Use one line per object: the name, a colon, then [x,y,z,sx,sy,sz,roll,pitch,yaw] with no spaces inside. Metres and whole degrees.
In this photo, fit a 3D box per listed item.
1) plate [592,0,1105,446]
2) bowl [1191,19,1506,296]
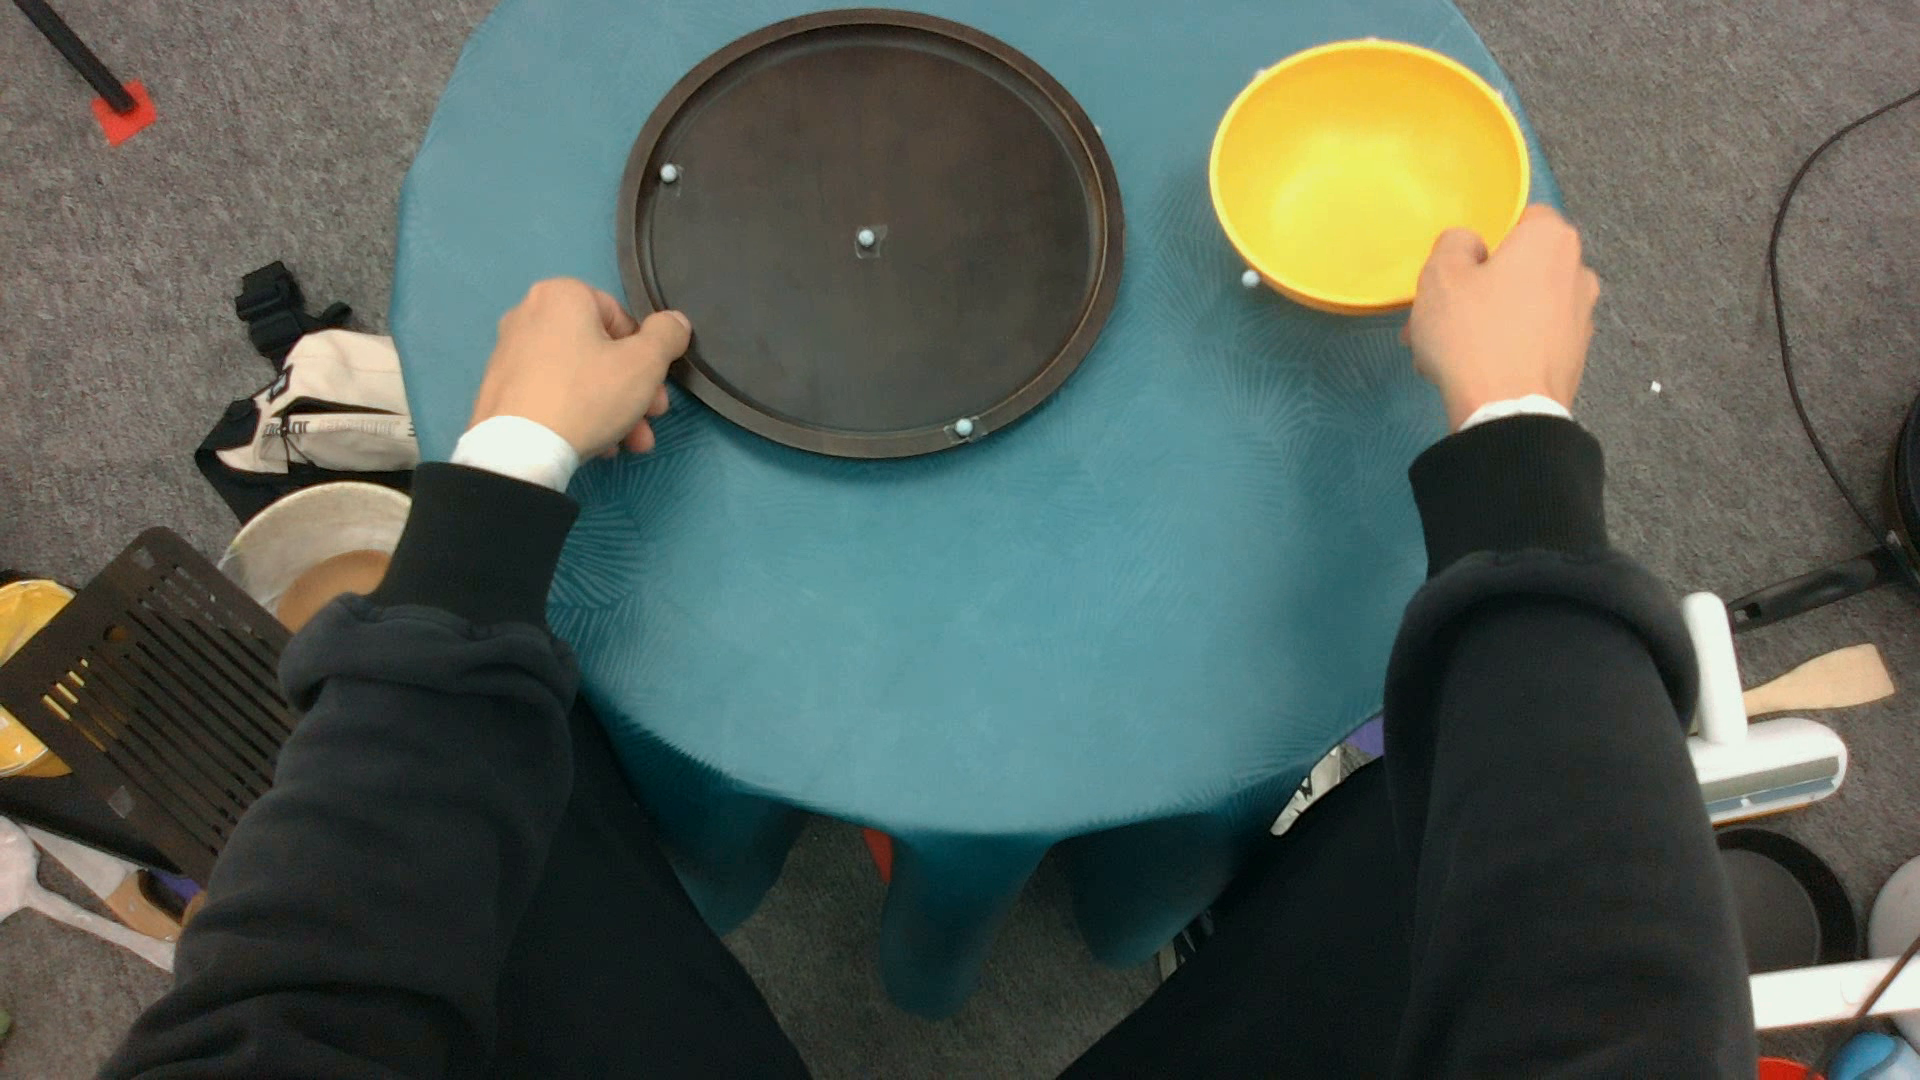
plate: [-0.054,-0.163,0.689,0.255,0.029,0.255,2,72,-5]
bowl: [0.186,-0.176,0.676,0.145,0.060,0.145,-2,74,7]
